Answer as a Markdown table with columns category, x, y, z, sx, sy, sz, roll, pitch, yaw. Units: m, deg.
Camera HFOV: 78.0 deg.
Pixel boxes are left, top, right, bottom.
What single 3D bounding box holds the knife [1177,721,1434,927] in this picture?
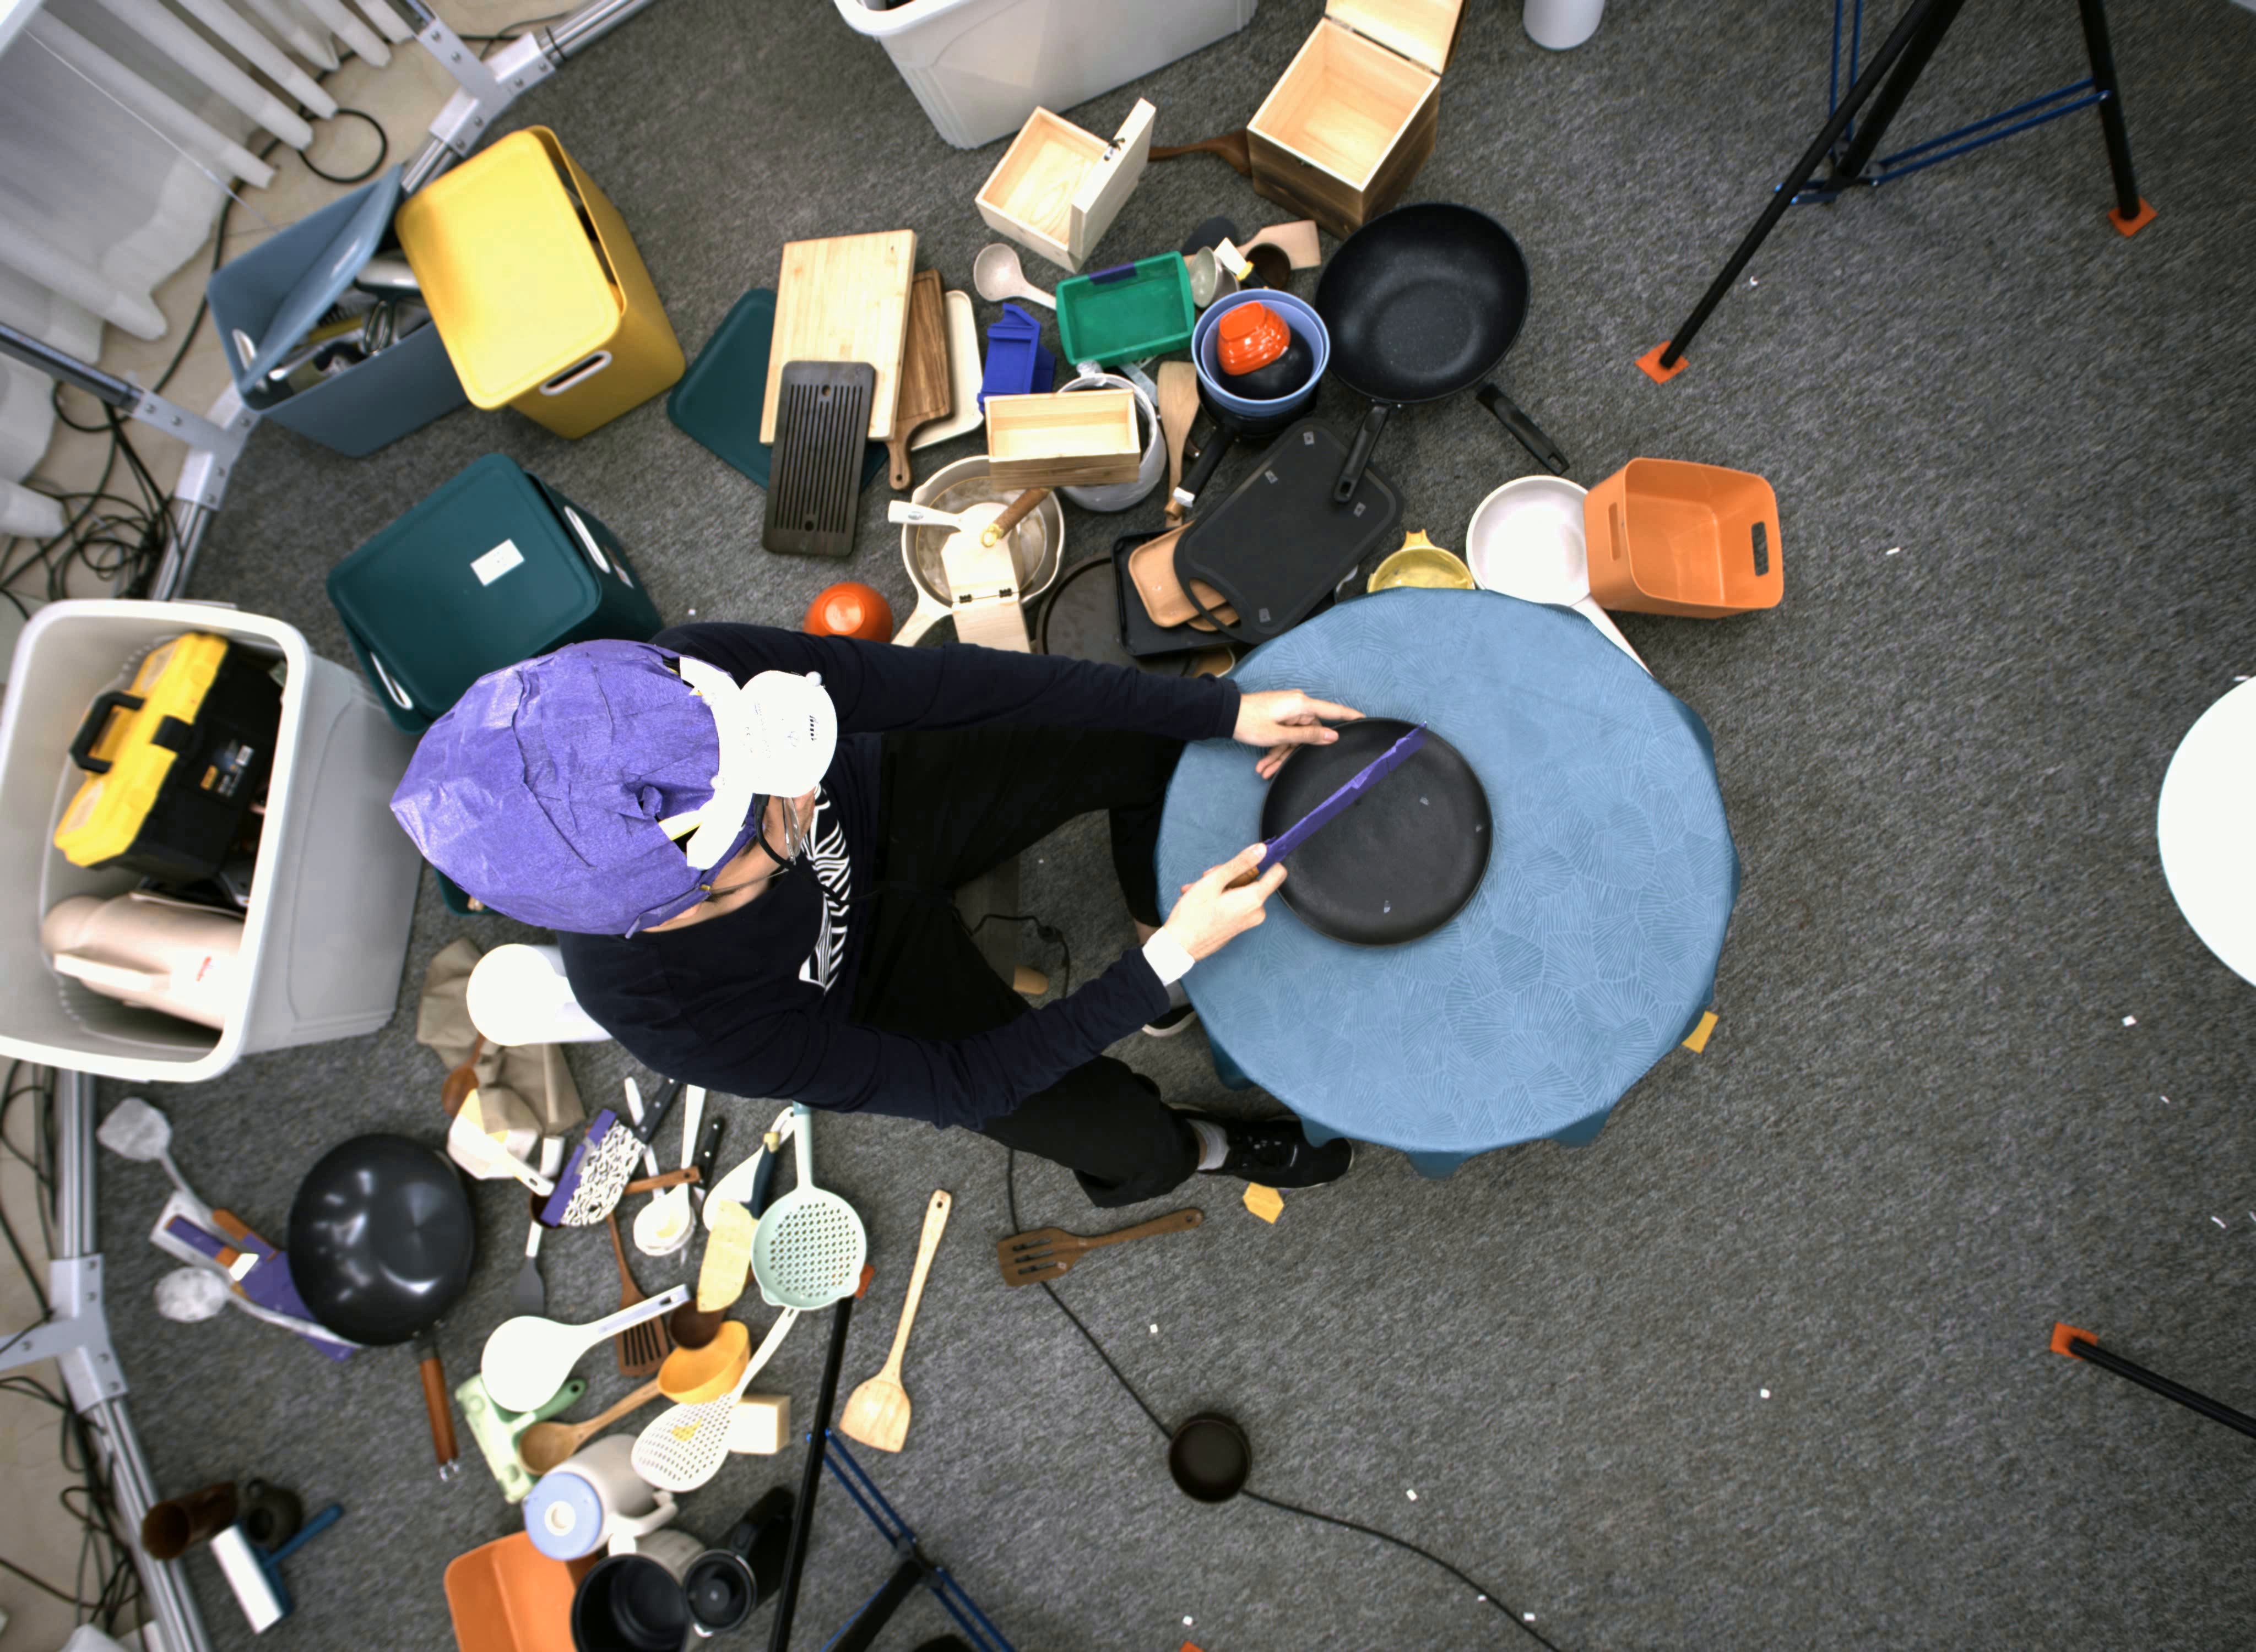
| category | x | y | z | sx | sy | sz | roll | pitch | yaw |
| --- | --- | --- | --- | --- | --- | --- | --- | --- | --- |
| knife | 0.187 | 0.001 | 1.410 | 0.317 | 0.104 | 0.032 | -37 | 75 | 6 |

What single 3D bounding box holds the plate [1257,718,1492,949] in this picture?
| category | x | y | z | sx | sy | sz | roll | pitch | yaw |
| --- | --- | --- | --- | --- | --- | --- | --- | --- | --- |
| plate | 0.258 | 0.007 | 1.453 | 0.245 | 0.023 | 0.243 | -1 | 87 | 10 |
